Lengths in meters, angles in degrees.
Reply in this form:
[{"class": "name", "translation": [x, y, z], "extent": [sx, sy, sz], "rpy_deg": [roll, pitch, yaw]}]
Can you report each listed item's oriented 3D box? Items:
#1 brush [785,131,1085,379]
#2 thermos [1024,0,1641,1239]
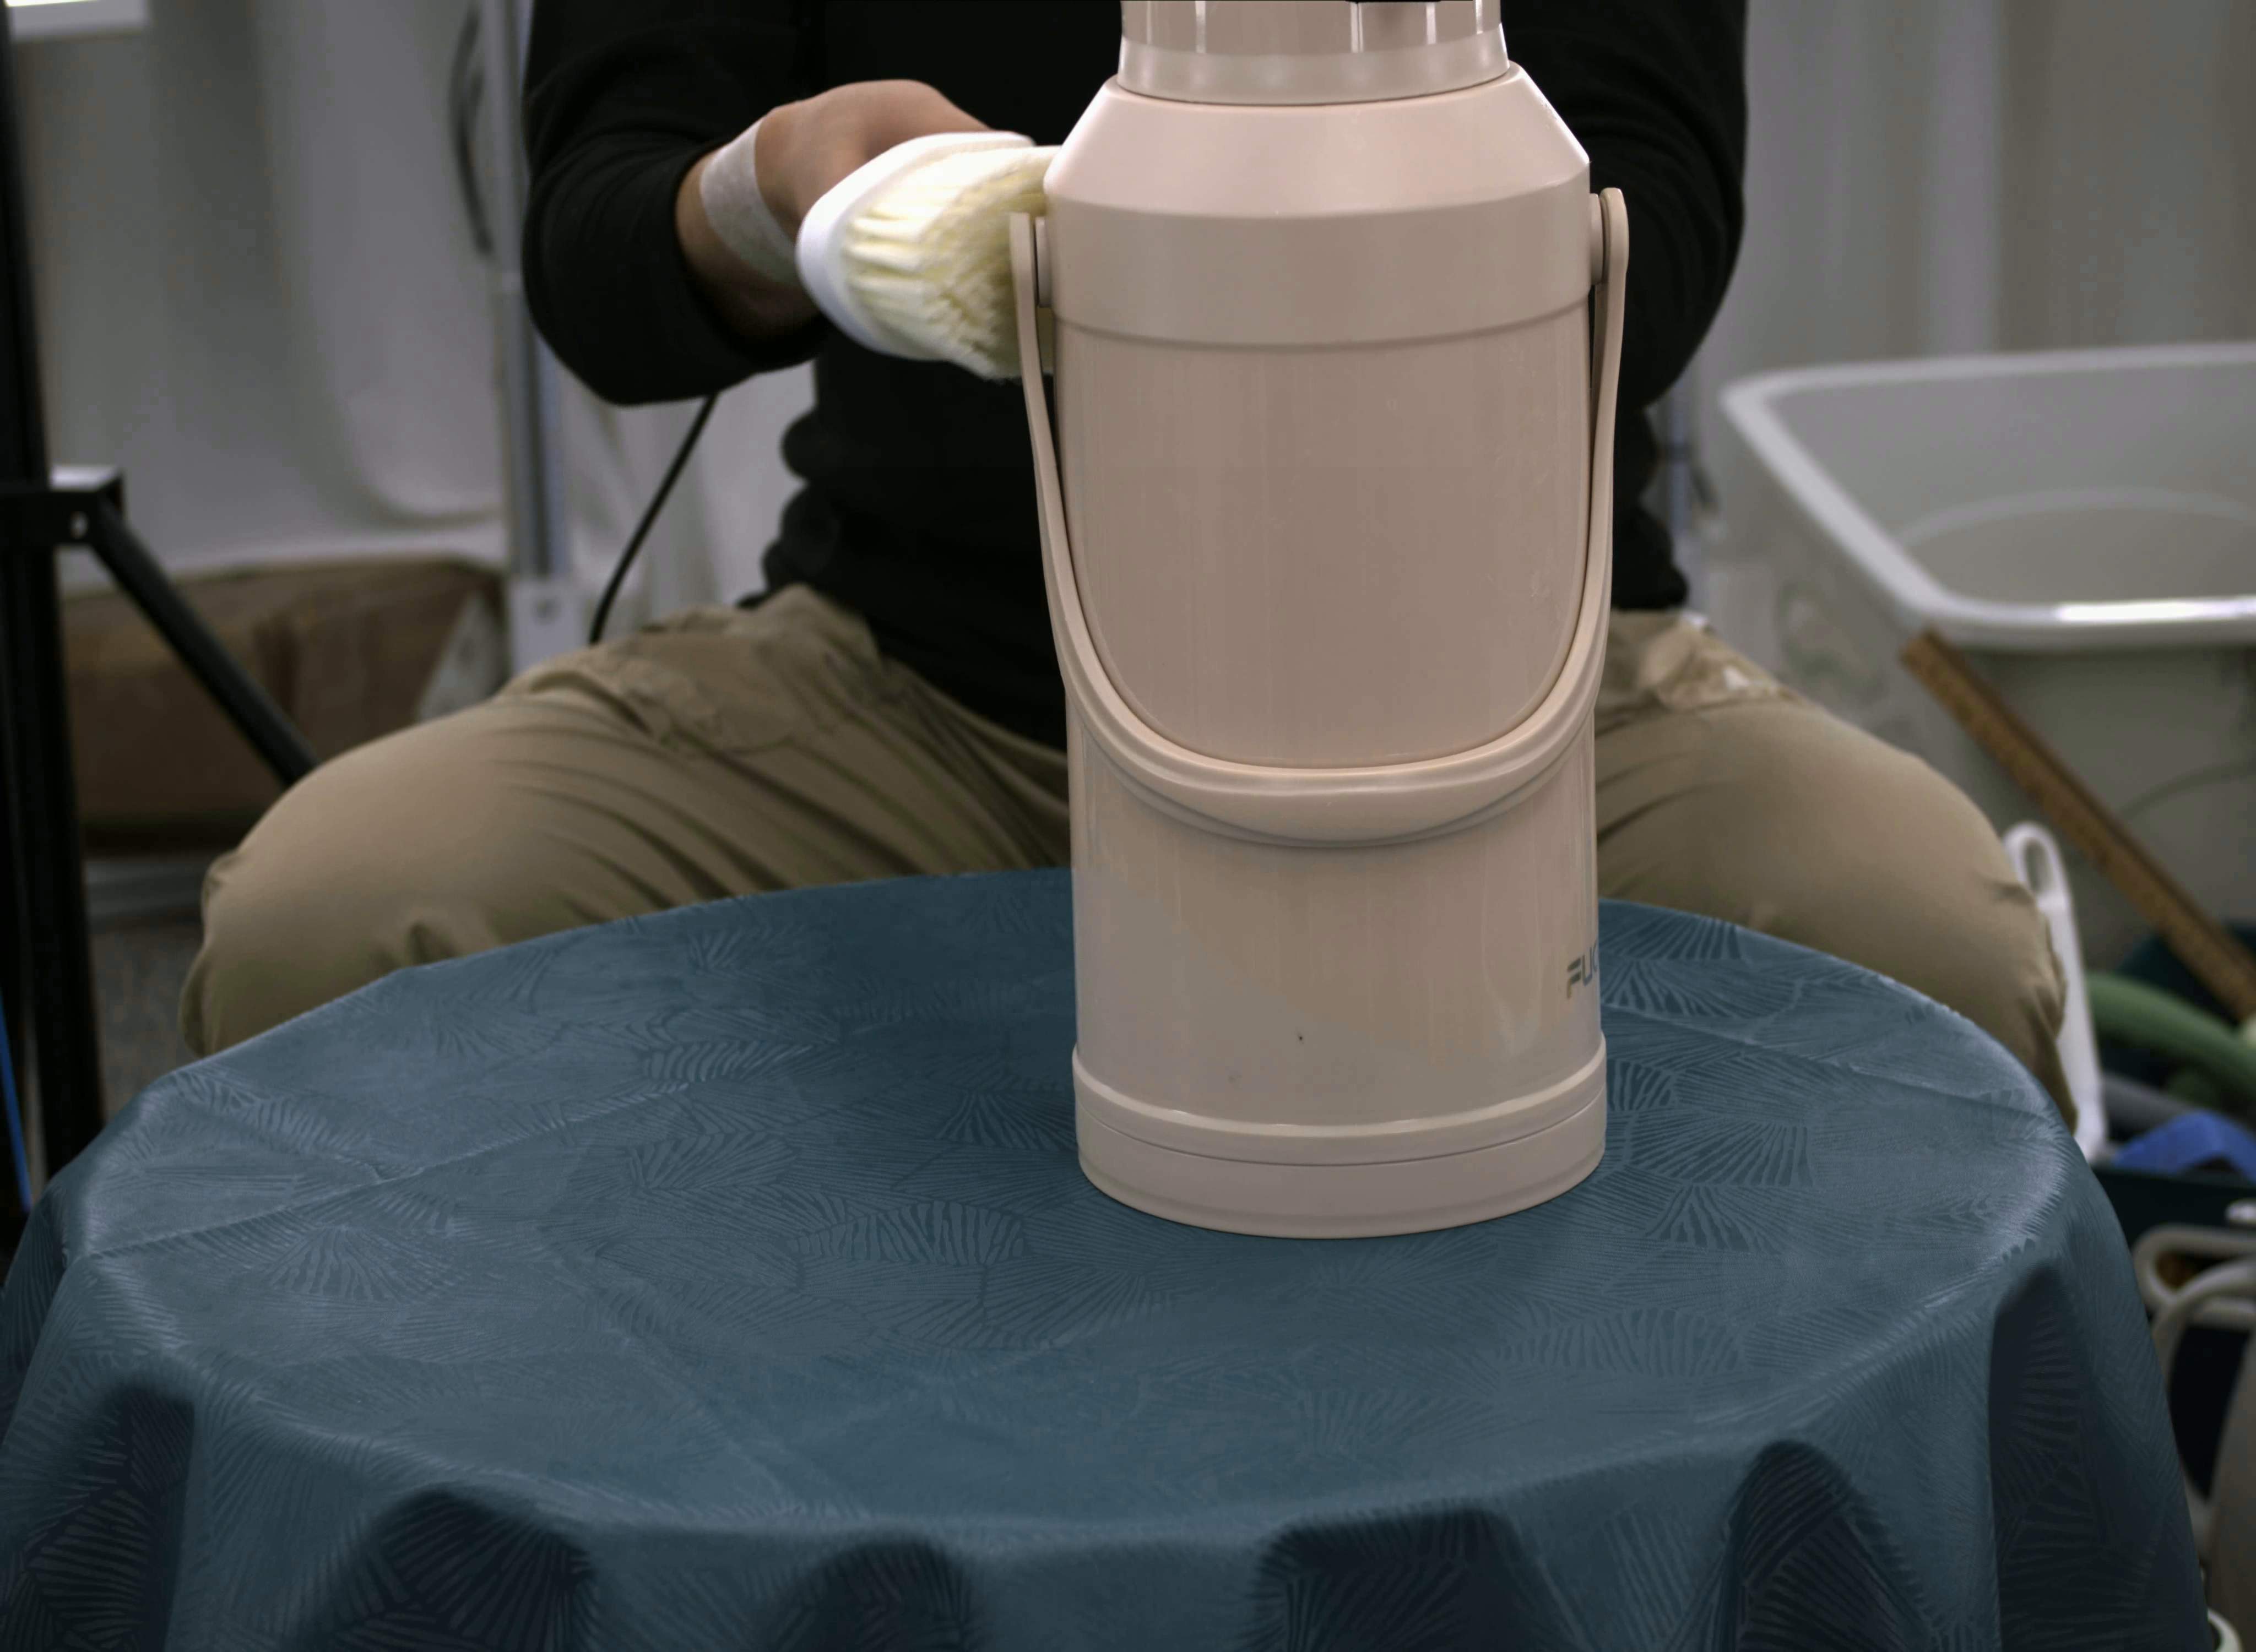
[{"class": "brush", "translation": [-0.030, -0.184, 1.643], "extent": [0.083, 0.084, 0.323], "rpy_deg": [-41, 0, 14]}, {"class": "thermos", "translation": [0.061, -0.098, 1.549], "extent": [0.174, 0.406, 0.208], "rpy_deg": [-4, 15, 0]}]
